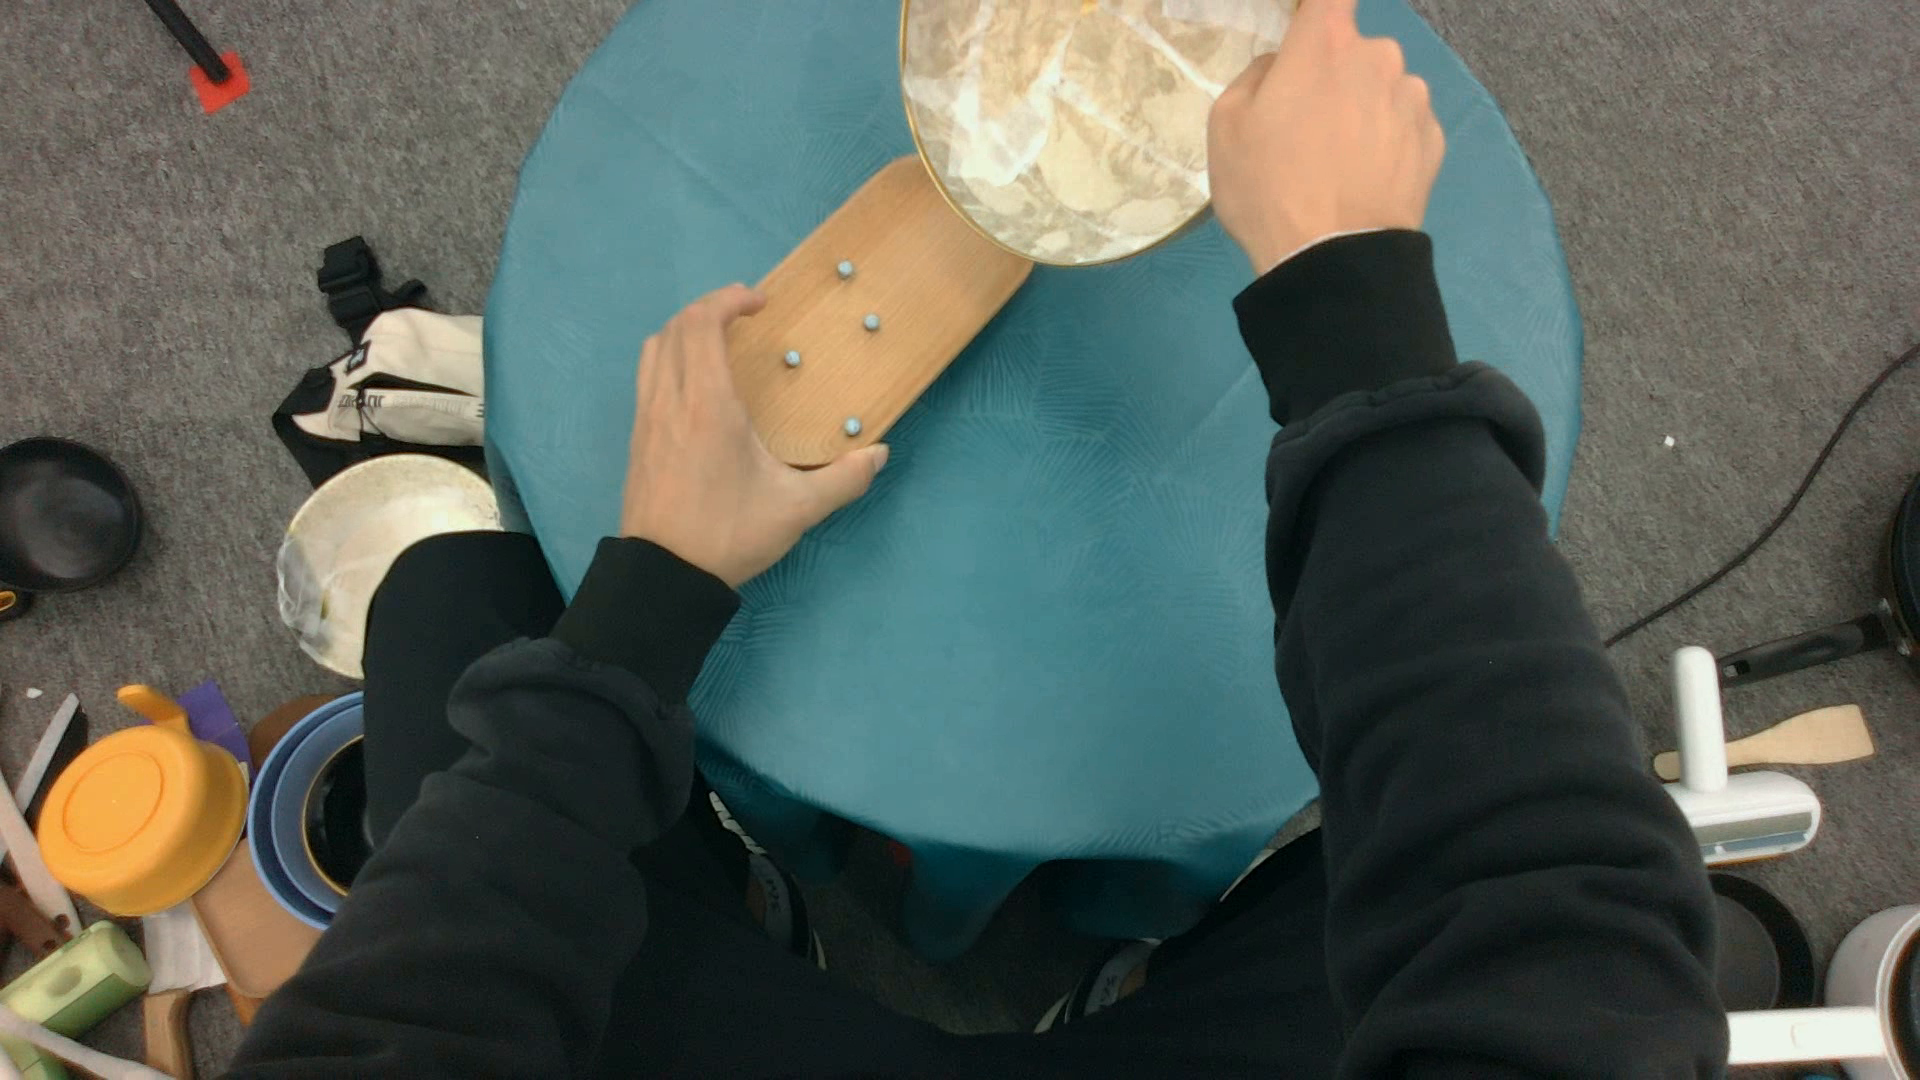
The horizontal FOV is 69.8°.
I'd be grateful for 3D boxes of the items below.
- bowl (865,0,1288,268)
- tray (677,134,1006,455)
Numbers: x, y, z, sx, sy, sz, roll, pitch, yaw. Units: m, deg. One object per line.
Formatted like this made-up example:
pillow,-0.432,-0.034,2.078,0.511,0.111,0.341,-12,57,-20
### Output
bowl,0.063,-0.233,0.641,0.215,0.213,0.095,54,34,12
tray,-0.055,-0.133,0.720,0.101,0.020,0.232,36,60,4
